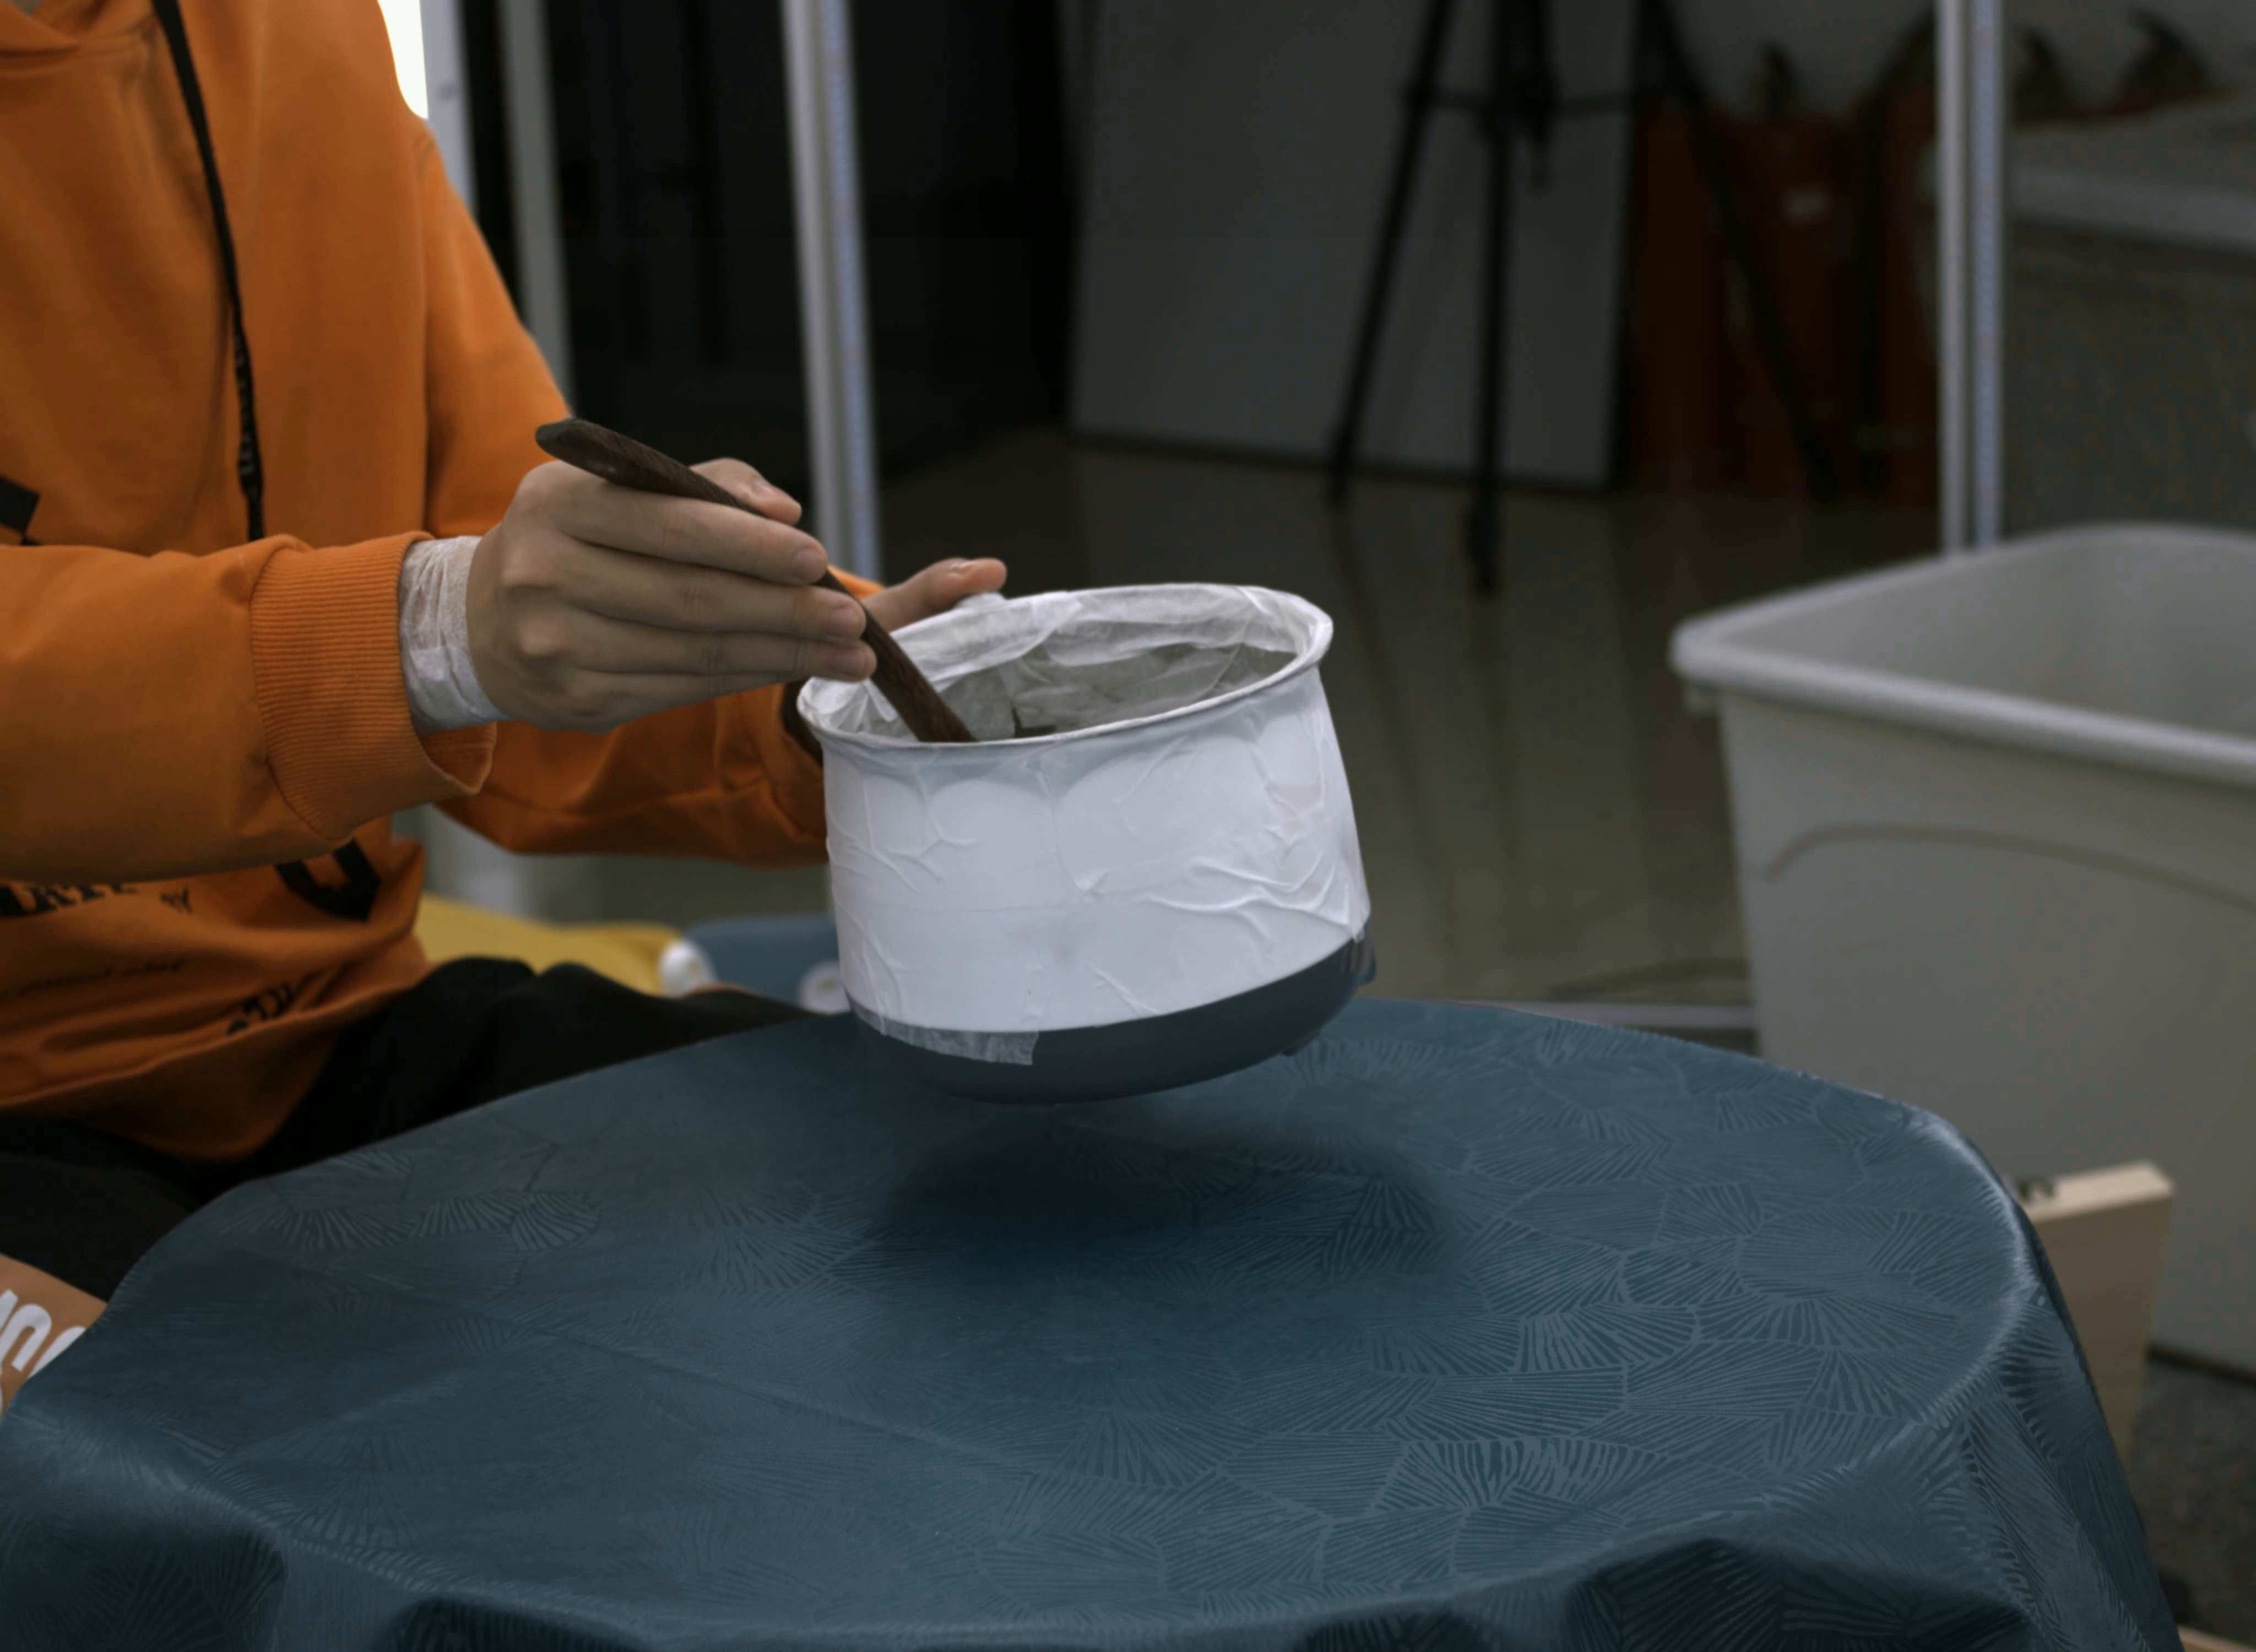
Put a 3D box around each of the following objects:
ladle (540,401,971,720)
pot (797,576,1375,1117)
[{"bbox_3d":[-0.071,-0.067,1.702,0.077,0.271,0.071,-13,42,49],"label":"ladle"},{"bbox_3d":[-0.021,-0.001,1.788,0.175,0.138,0.236,-13,17,-15],"label":"pot"}]
